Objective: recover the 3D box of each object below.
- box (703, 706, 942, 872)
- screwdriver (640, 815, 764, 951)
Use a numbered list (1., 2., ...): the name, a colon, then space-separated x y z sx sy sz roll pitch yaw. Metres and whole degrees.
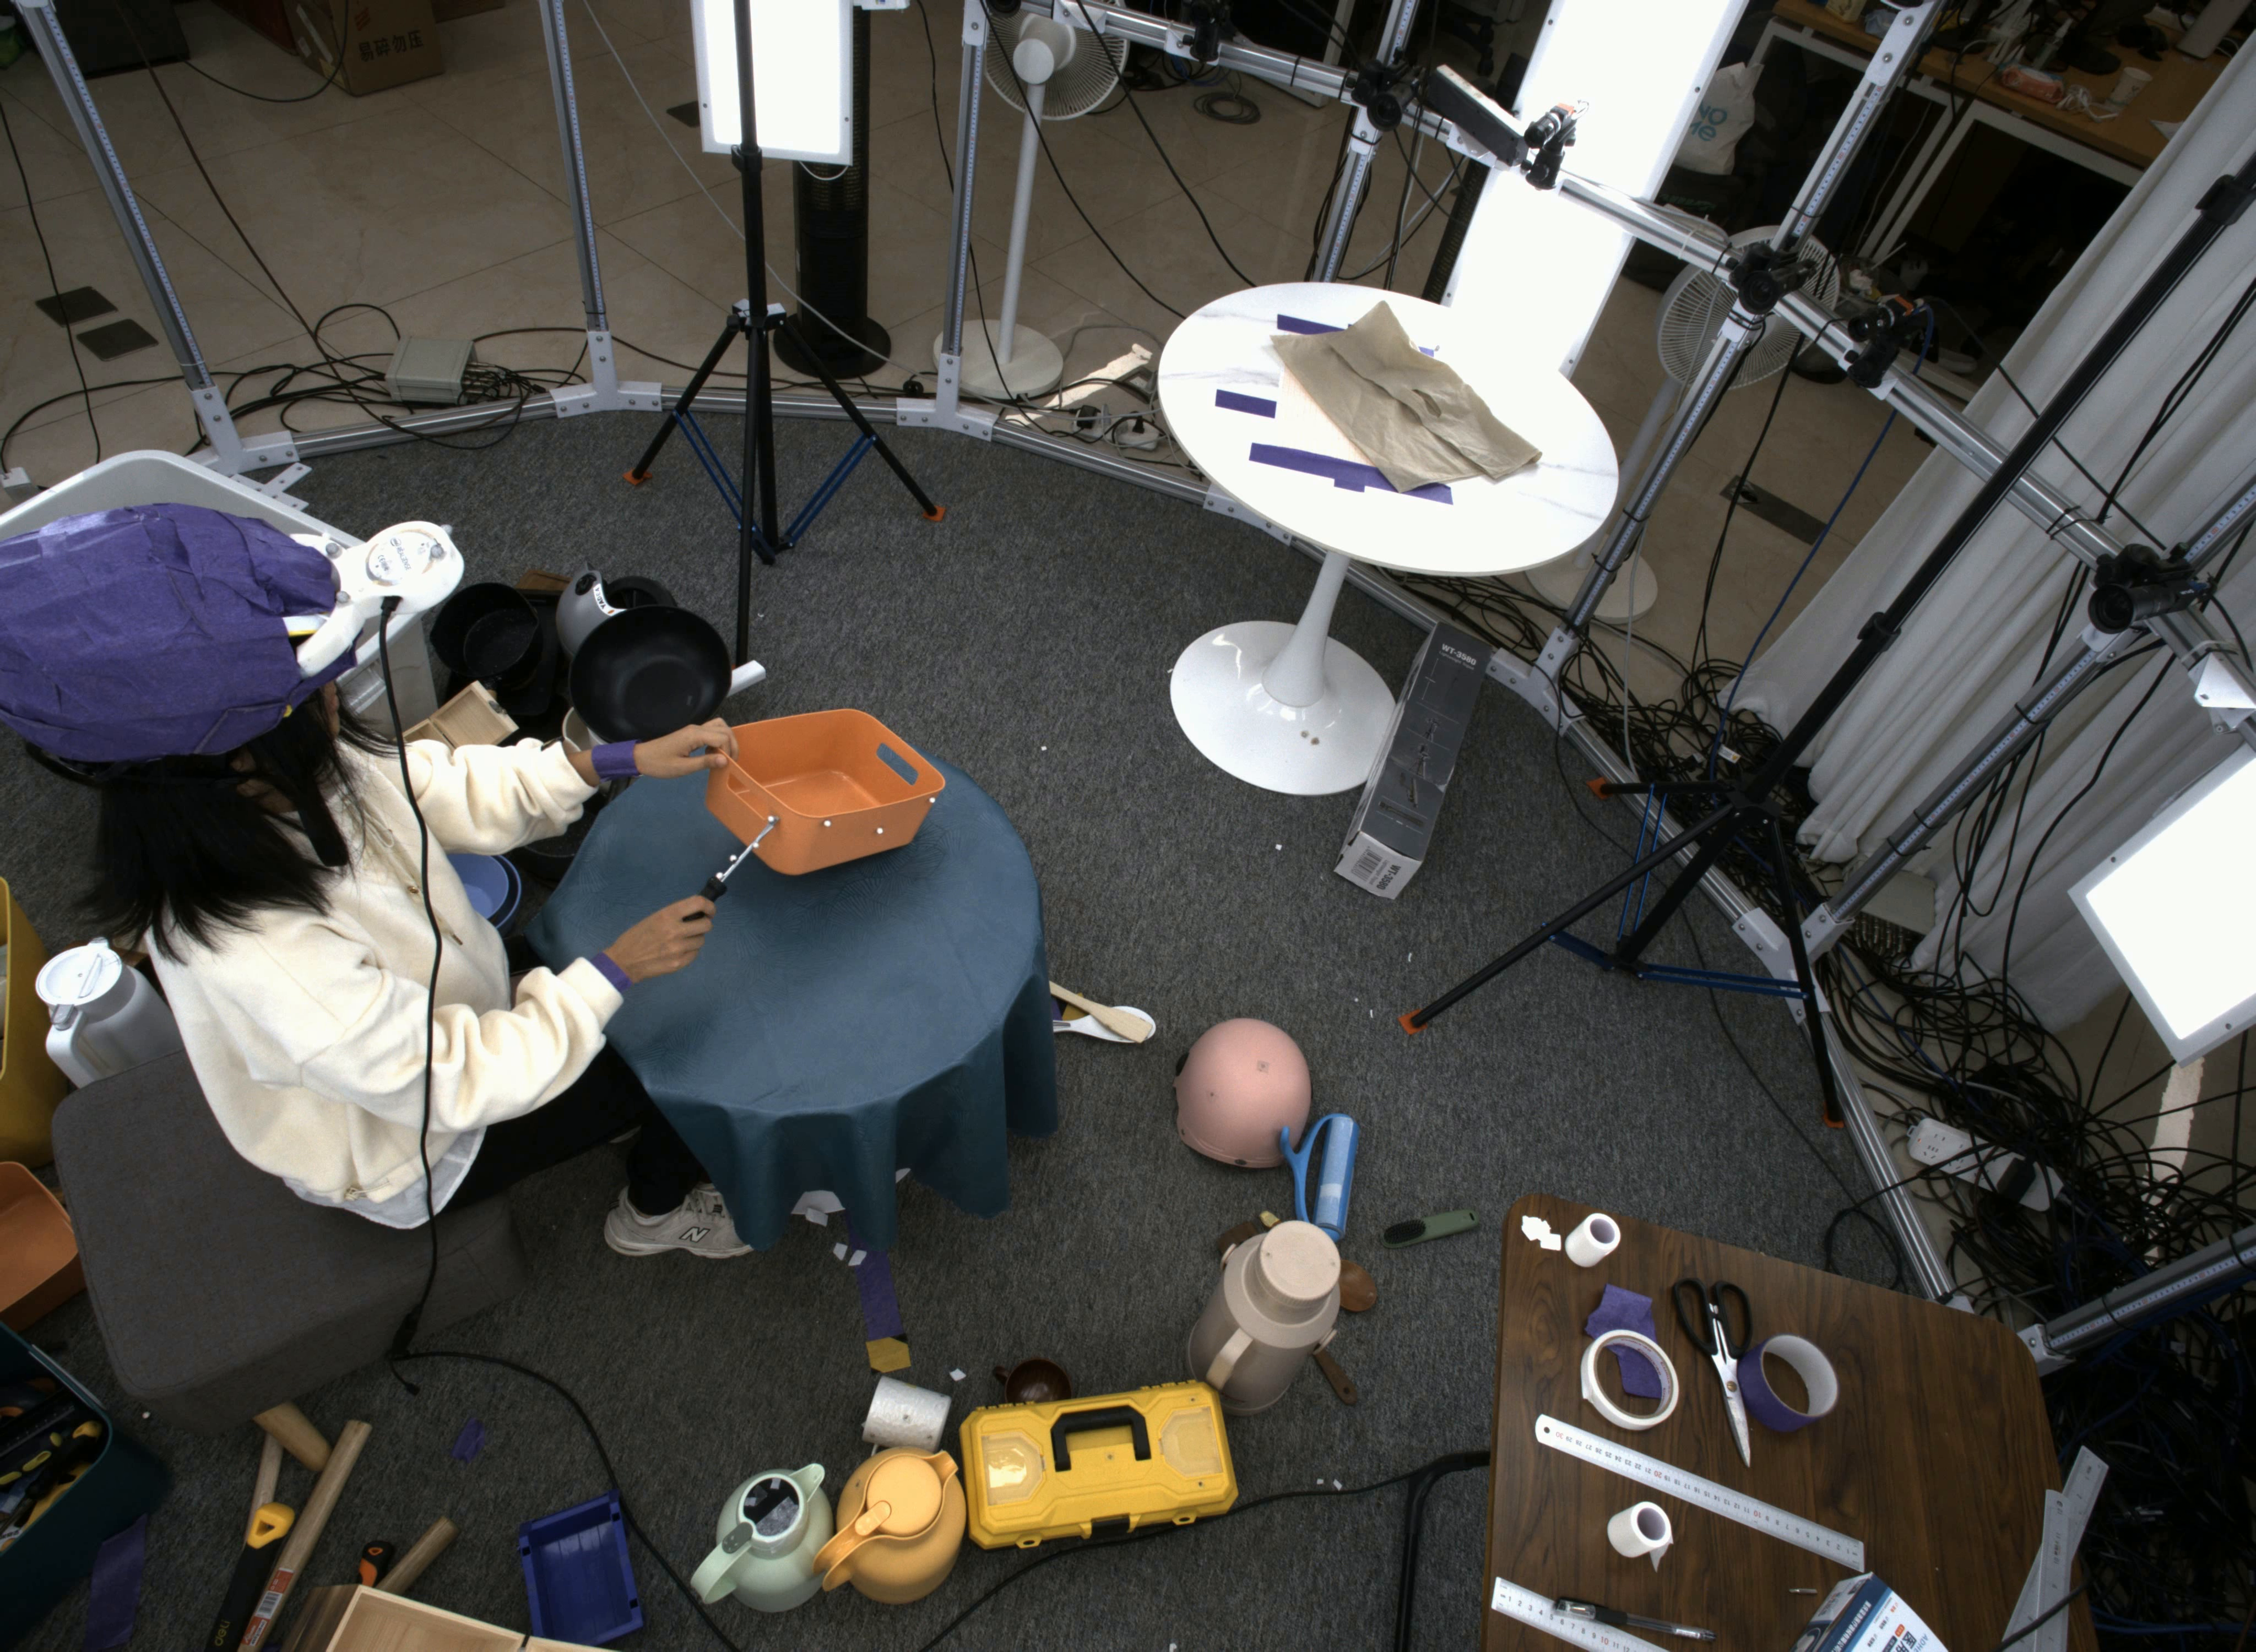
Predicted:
1. box: -0.390 -0.049 1.639 0.194 0.104 0.276 39 28 19
2. screwdriver: -0.480 0.058 1.458 0.031 0.032 0.197 31 66 12
